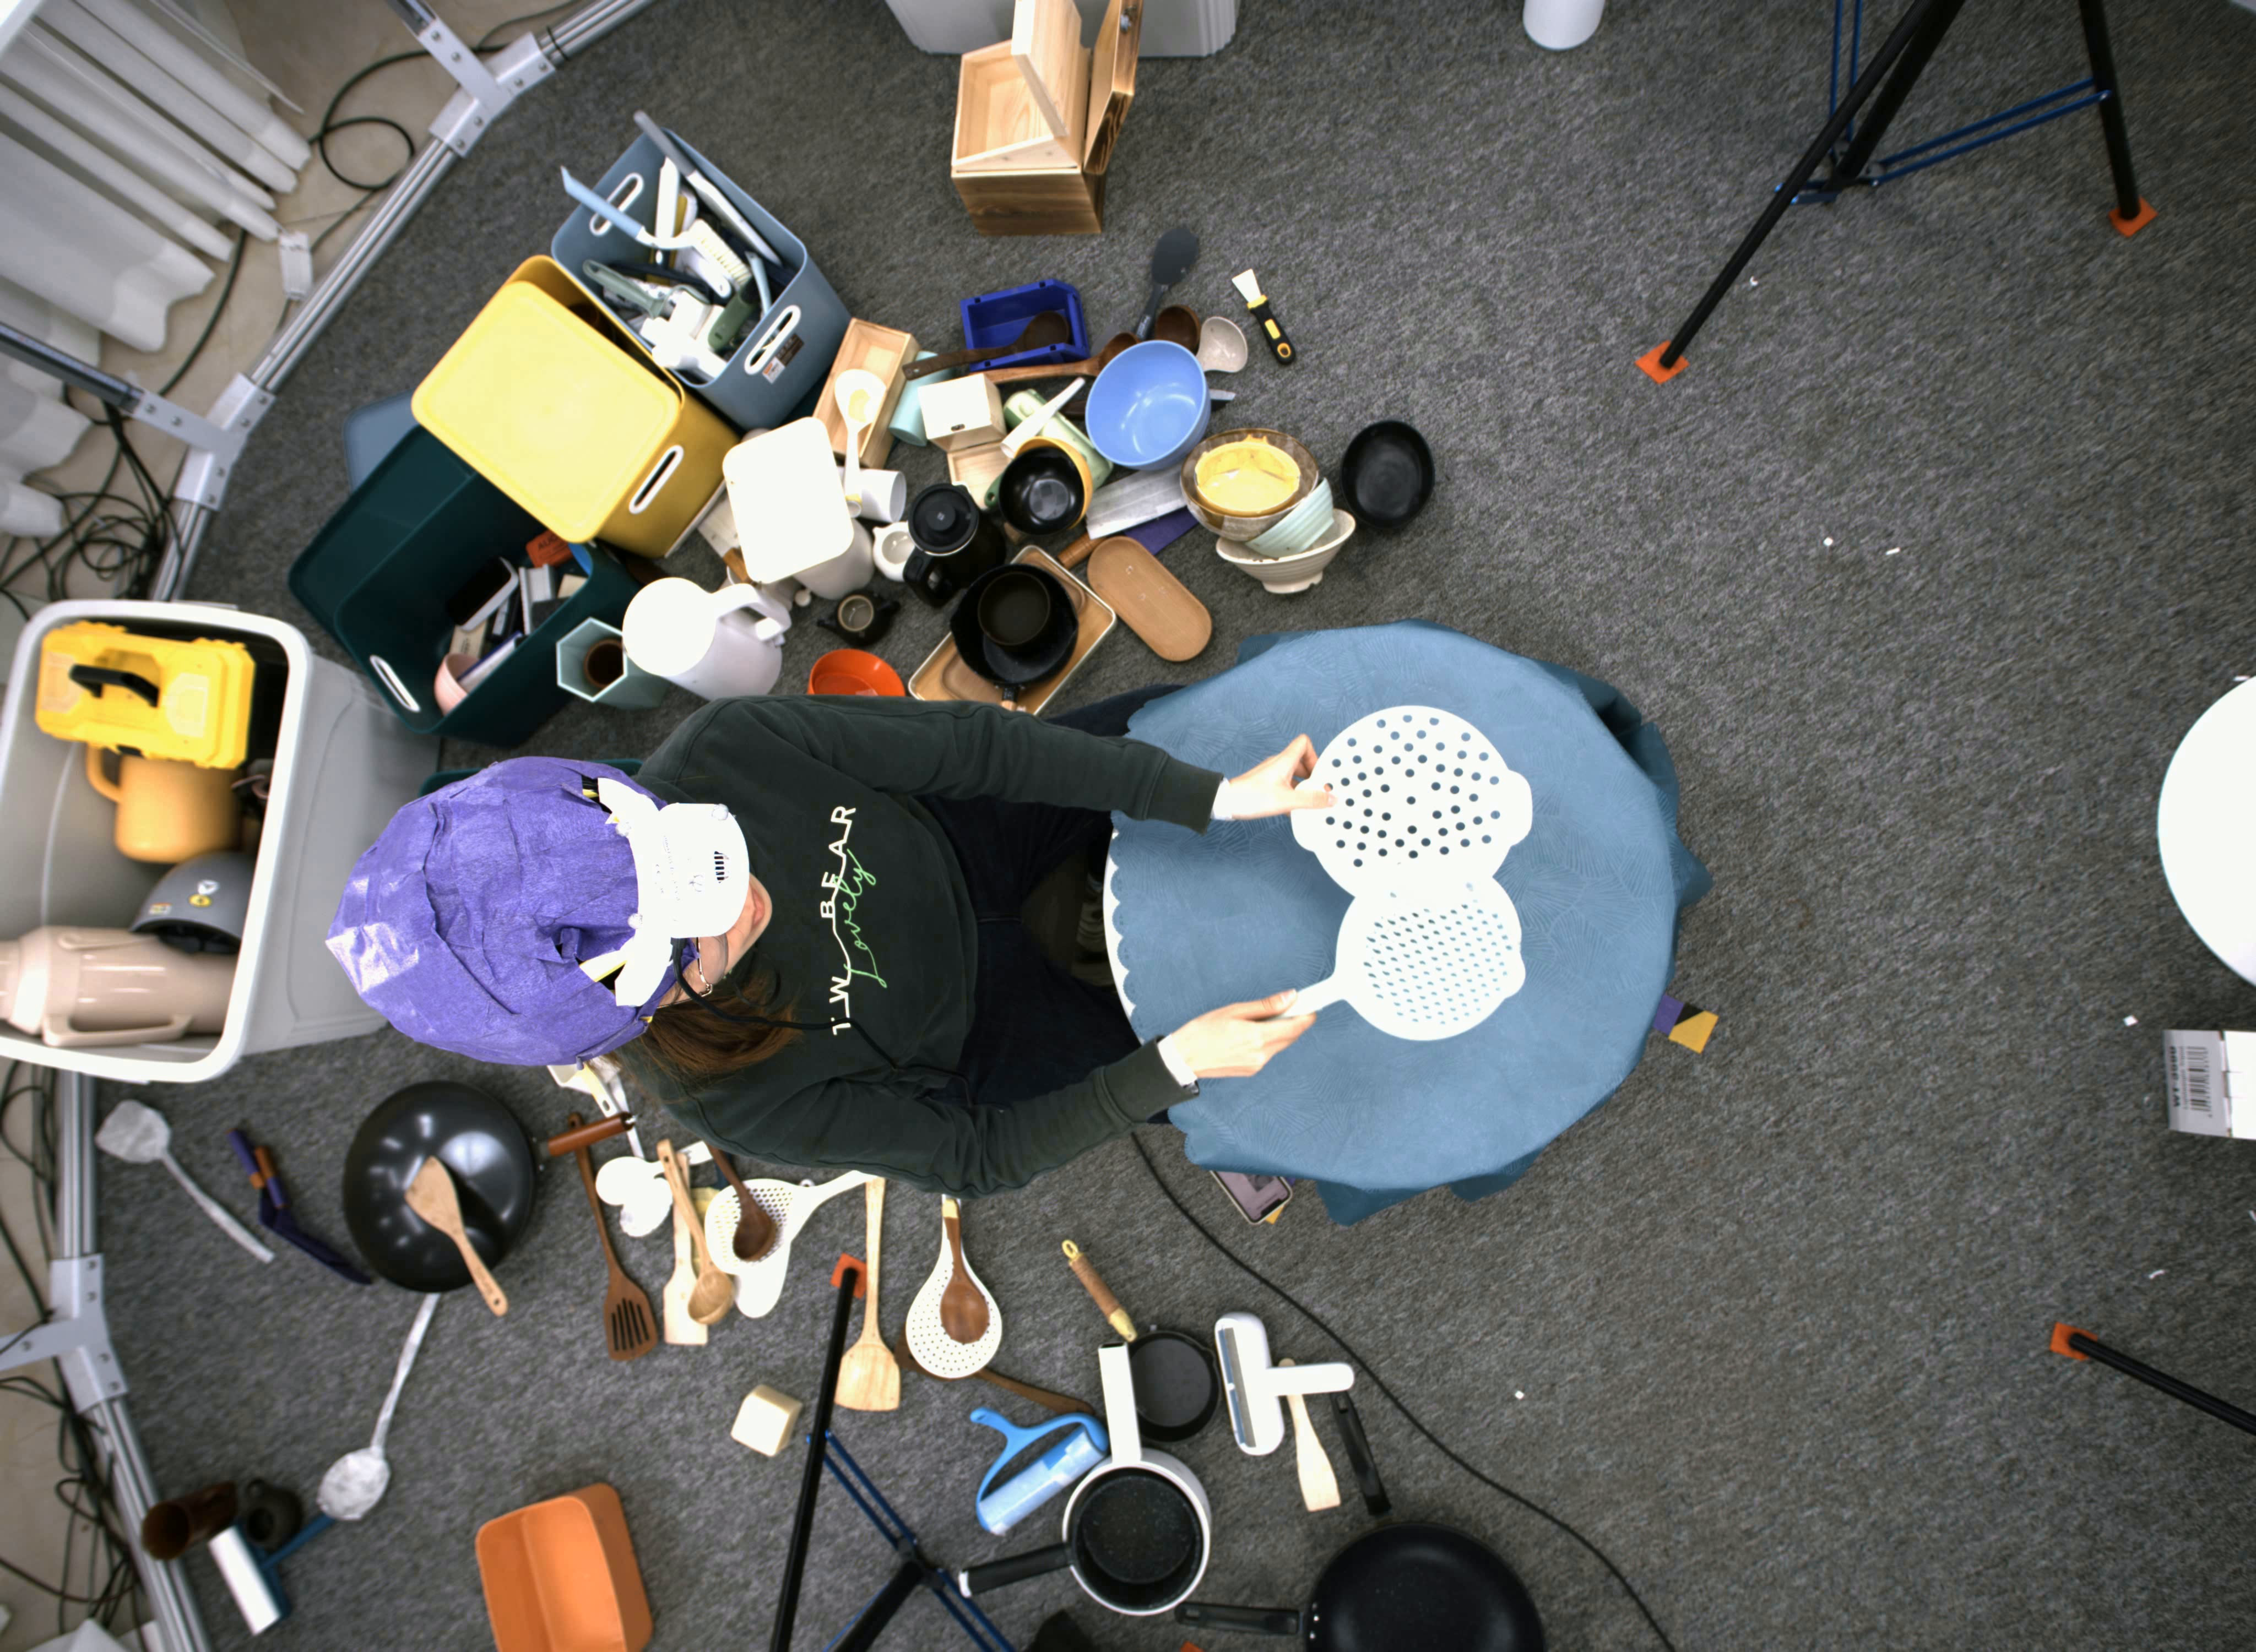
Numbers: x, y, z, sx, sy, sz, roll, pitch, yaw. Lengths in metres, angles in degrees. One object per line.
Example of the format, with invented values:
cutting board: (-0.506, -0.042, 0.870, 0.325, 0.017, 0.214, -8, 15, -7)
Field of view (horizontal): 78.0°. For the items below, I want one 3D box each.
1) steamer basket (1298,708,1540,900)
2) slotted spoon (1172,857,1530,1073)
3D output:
steamer basket: (0.286, -0.020, 1.360, 0.232, 0.068, 0.203, -4, 101, 14)
slotted spoon: (0.197, 0.157, 1.292, 0.361, 0.076, 0.166, -22, 61, 12)
